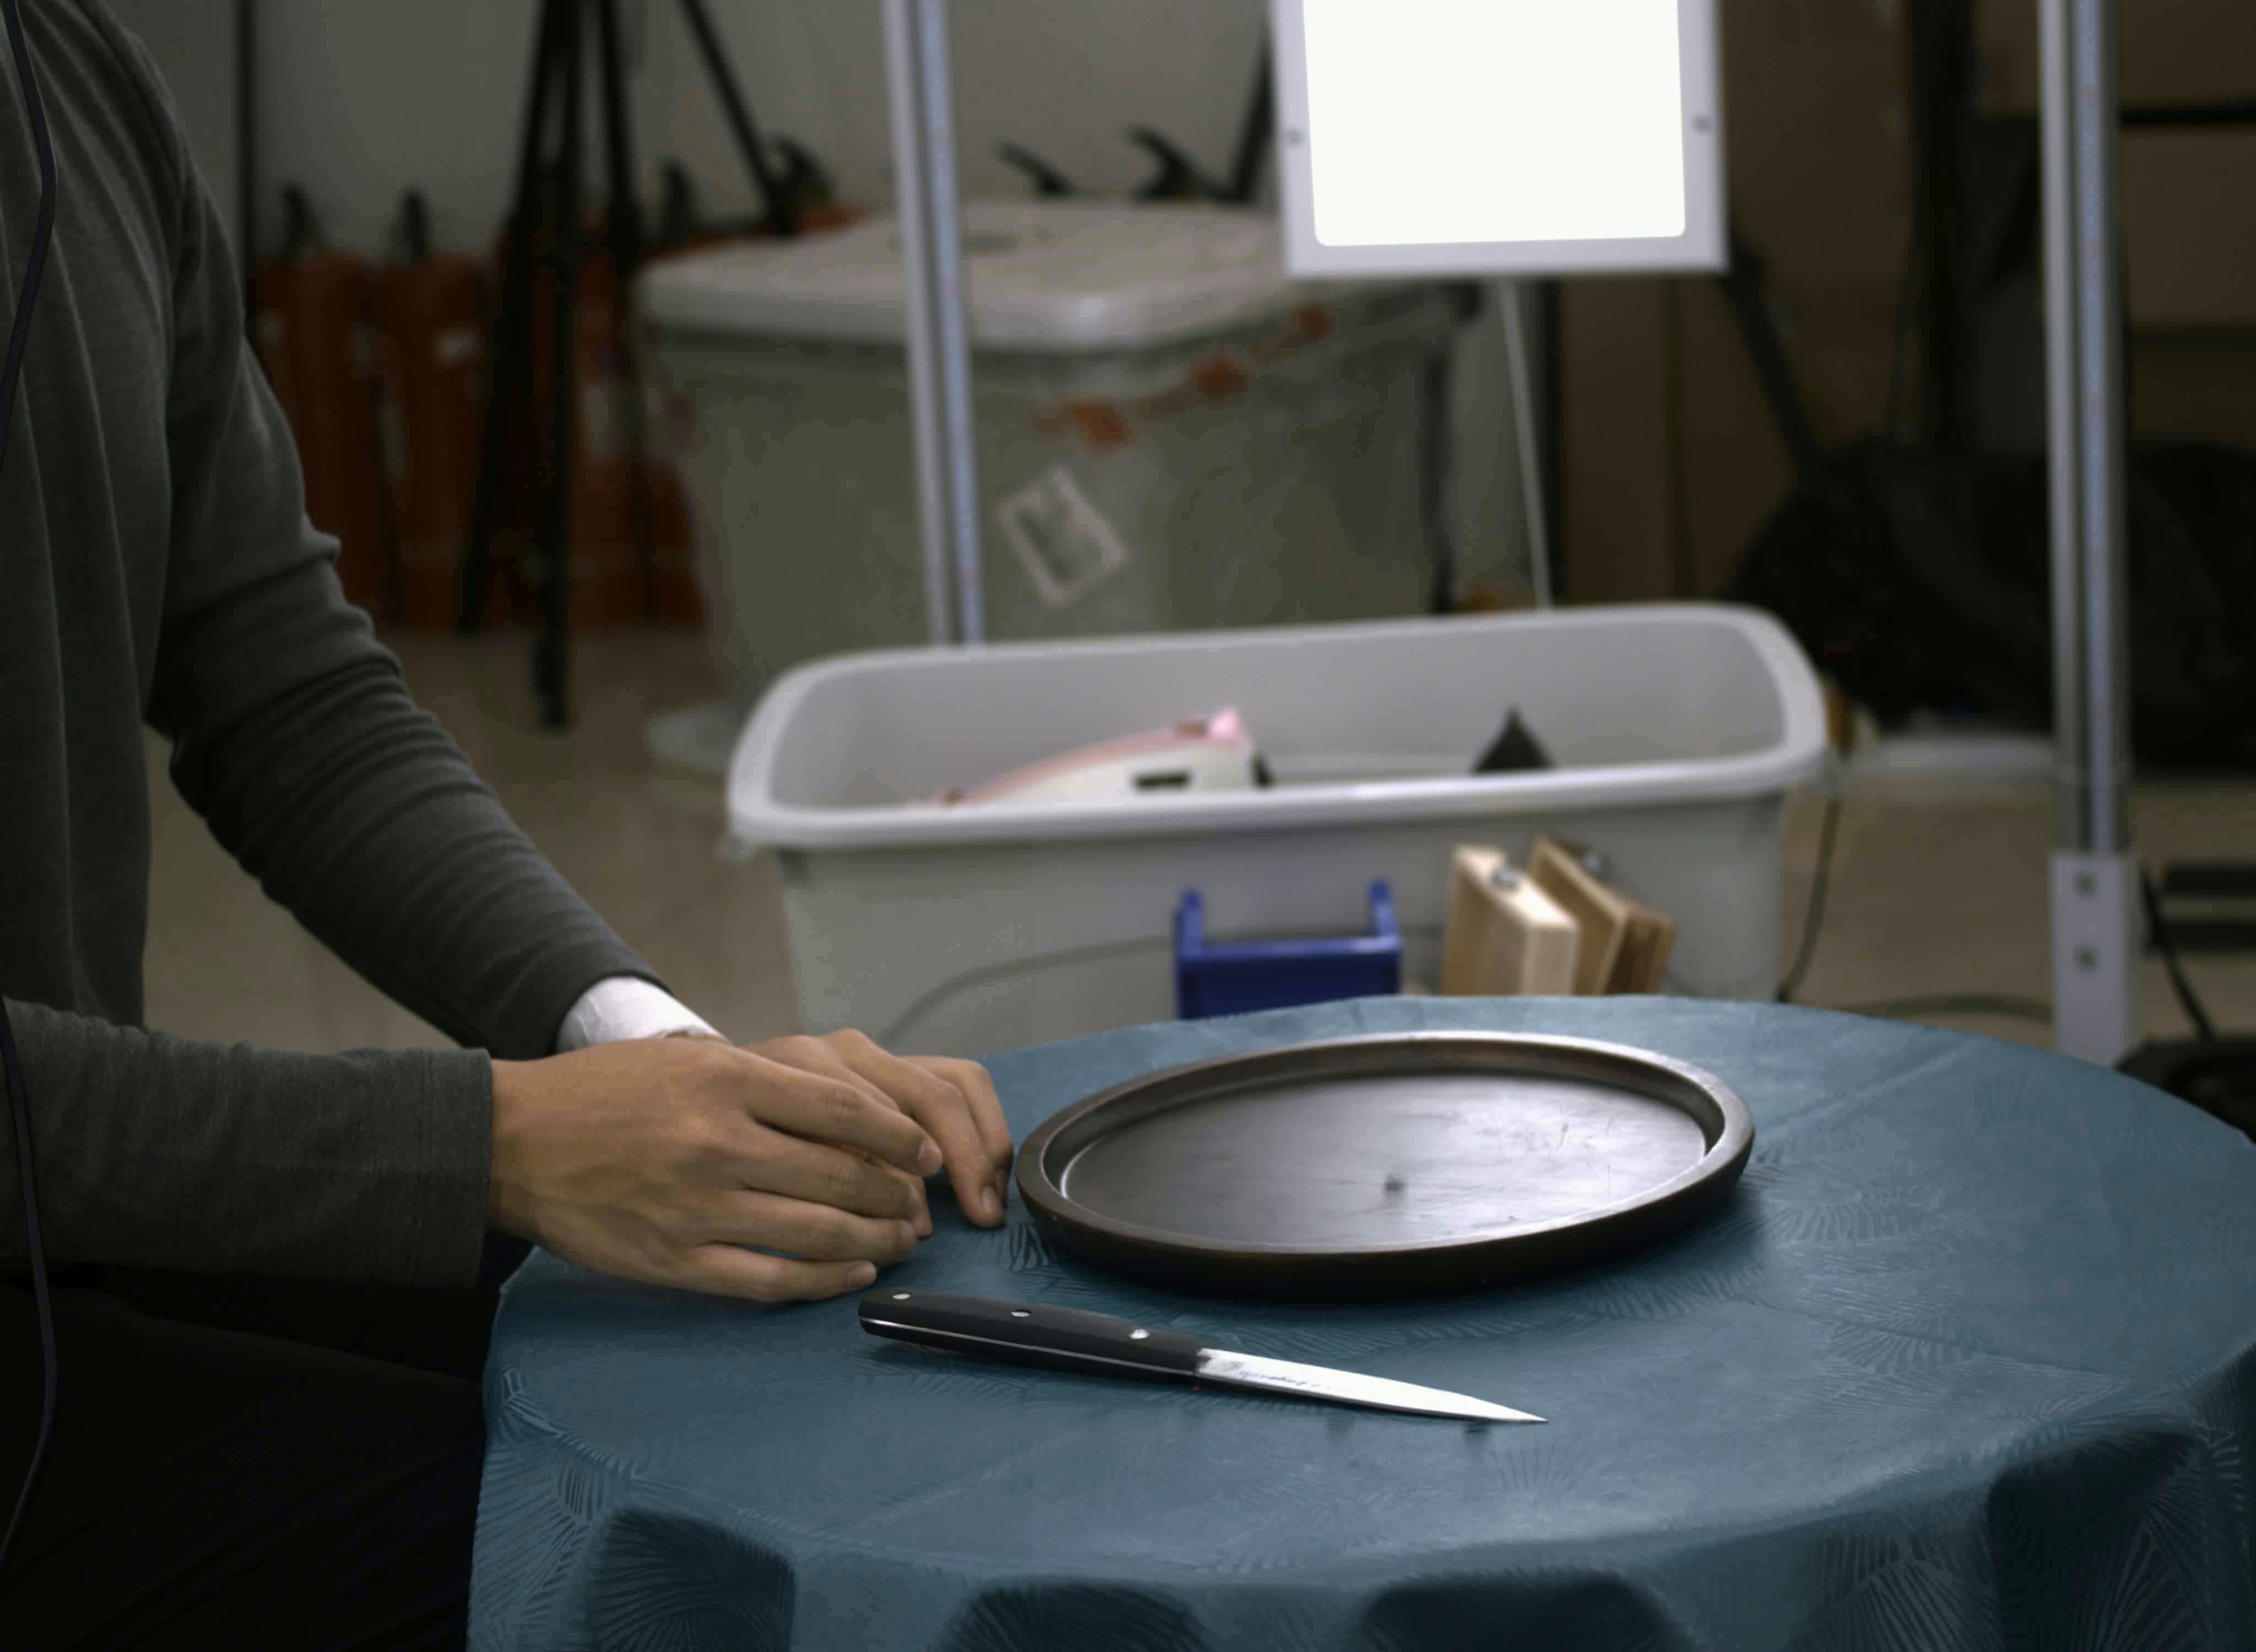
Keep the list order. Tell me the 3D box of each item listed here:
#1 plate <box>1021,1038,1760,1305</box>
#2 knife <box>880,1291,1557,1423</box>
[{"bbox_3d":[0.089,0.115,1.871,0.254,0.029,0.254,-4,13,0],"label":"plate"},{"bbox_3d":[0.023,0.167,1.705,0.242,0.016,0.024,6,14,30],"label":"knife"}]
